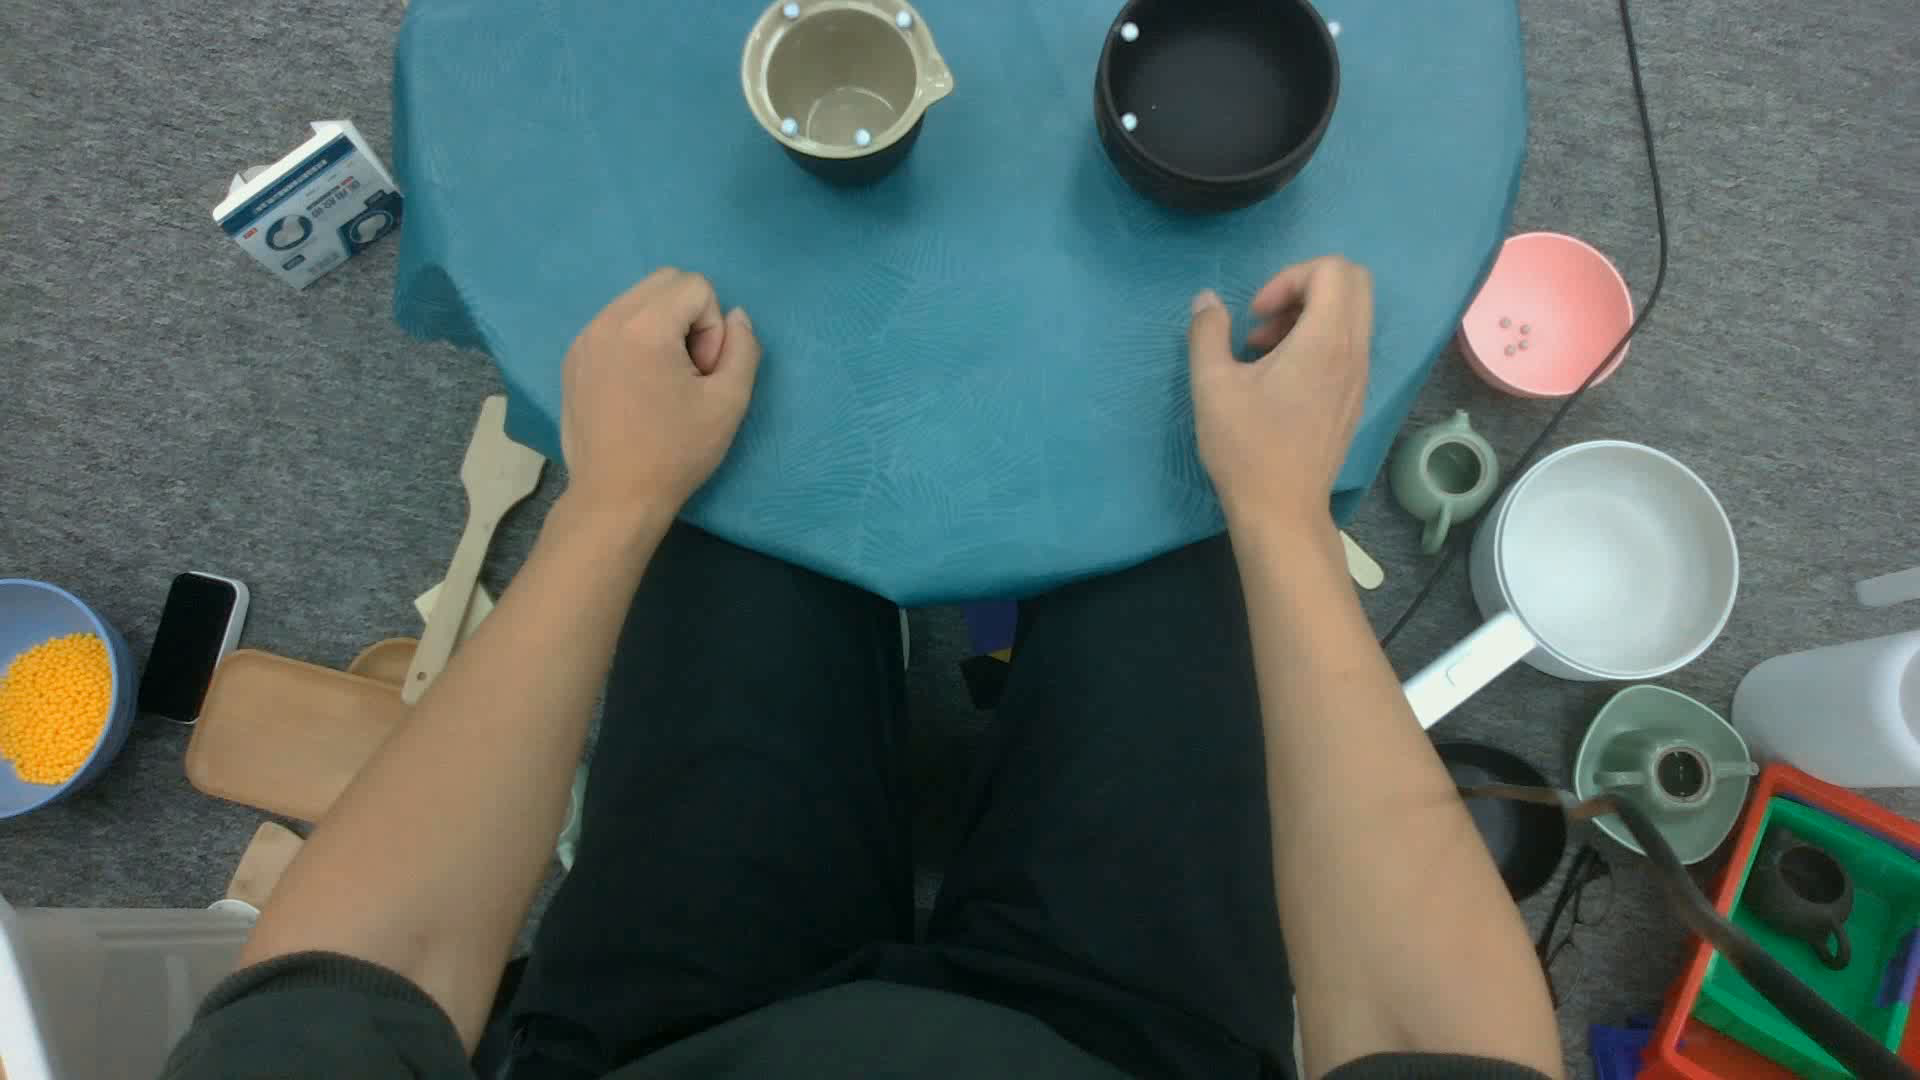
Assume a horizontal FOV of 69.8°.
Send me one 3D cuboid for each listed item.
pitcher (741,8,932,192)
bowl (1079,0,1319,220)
[{"bbox_3d":[-0.060,-0.218,0.708,0.096,0.071,0.084,13,78,3],"label":"pitcher"},{"bbox_3d":[0.119,-0.219,0.707,0.118,0.070,0.118,0,80,1],"label":"bowl"}]
